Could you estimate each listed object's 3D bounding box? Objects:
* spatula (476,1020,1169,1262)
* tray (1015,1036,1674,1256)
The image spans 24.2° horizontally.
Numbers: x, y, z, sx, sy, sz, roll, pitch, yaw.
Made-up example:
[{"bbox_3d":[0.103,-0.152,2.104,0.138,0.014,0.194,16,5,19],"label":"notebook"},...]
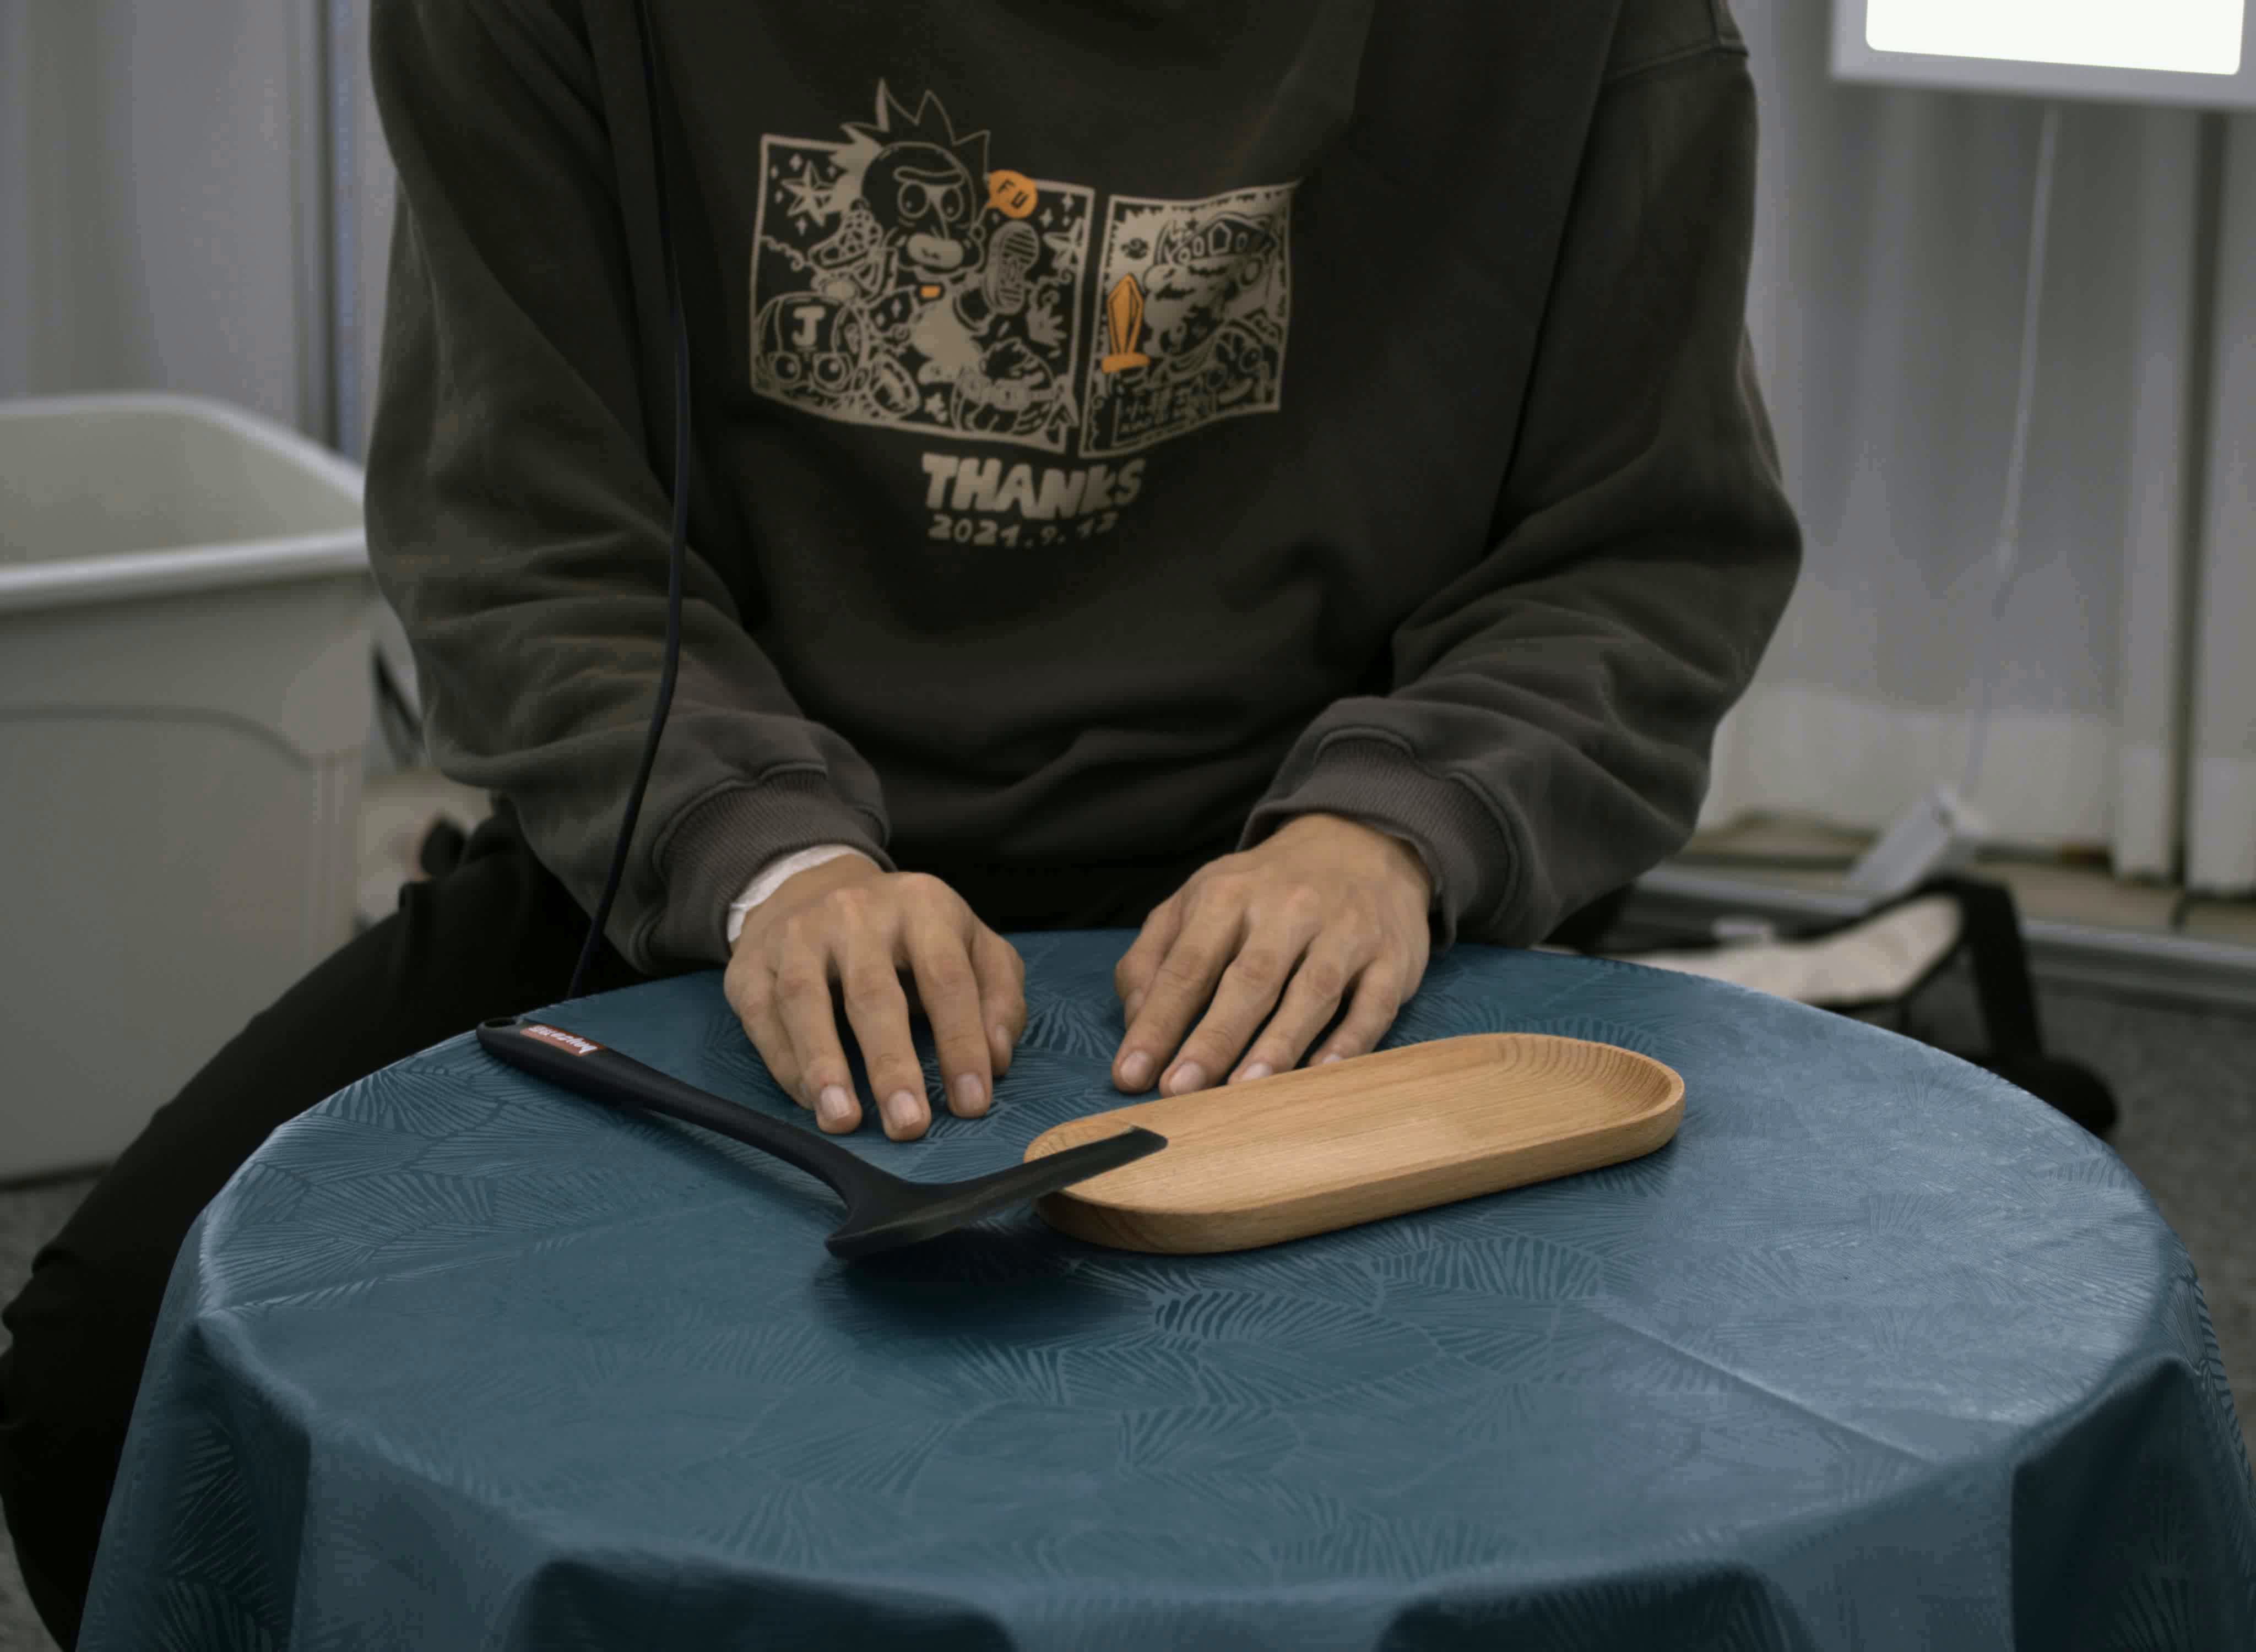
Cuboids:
[{"bbox_3d":[-0.118,0.089,1.643,0.100,0.041,0.322,-17,23,-35],"label":"spatula"},{"bbox_3d":[0.070,0.100,1.650,0.232,0.020,0.100,-11,19,-33],"label":"tray"}]
